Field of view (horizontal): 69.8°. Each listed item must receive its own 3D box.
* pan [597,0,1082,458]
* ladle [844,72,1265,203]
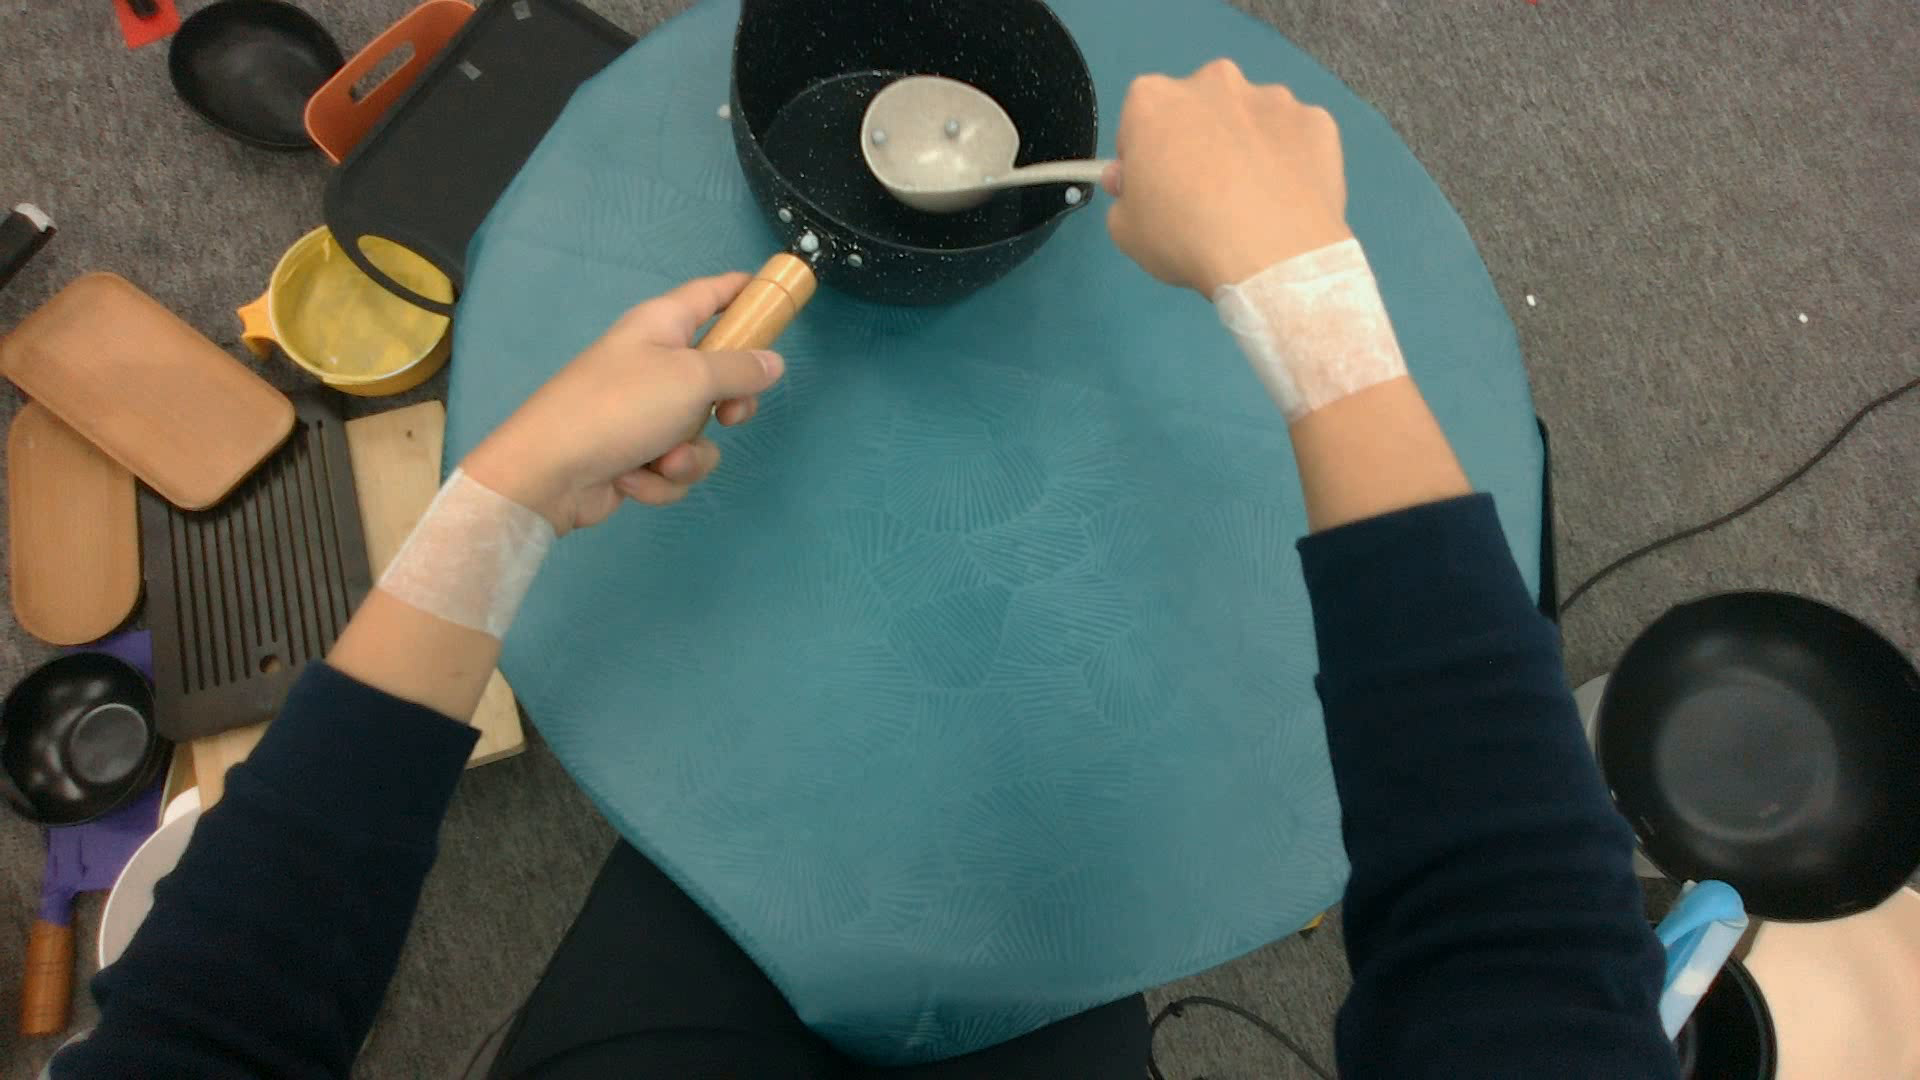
[{"bbox_3d":[-0.070,-0.156,0.678,0.207,0.108,0.344,30,65,-2],"label":"pan"},{"bbox_3d":[0.038,-0.196,0.647,0.089,0.274,0.069,-23,112,-27],"label":"ladle"}]
